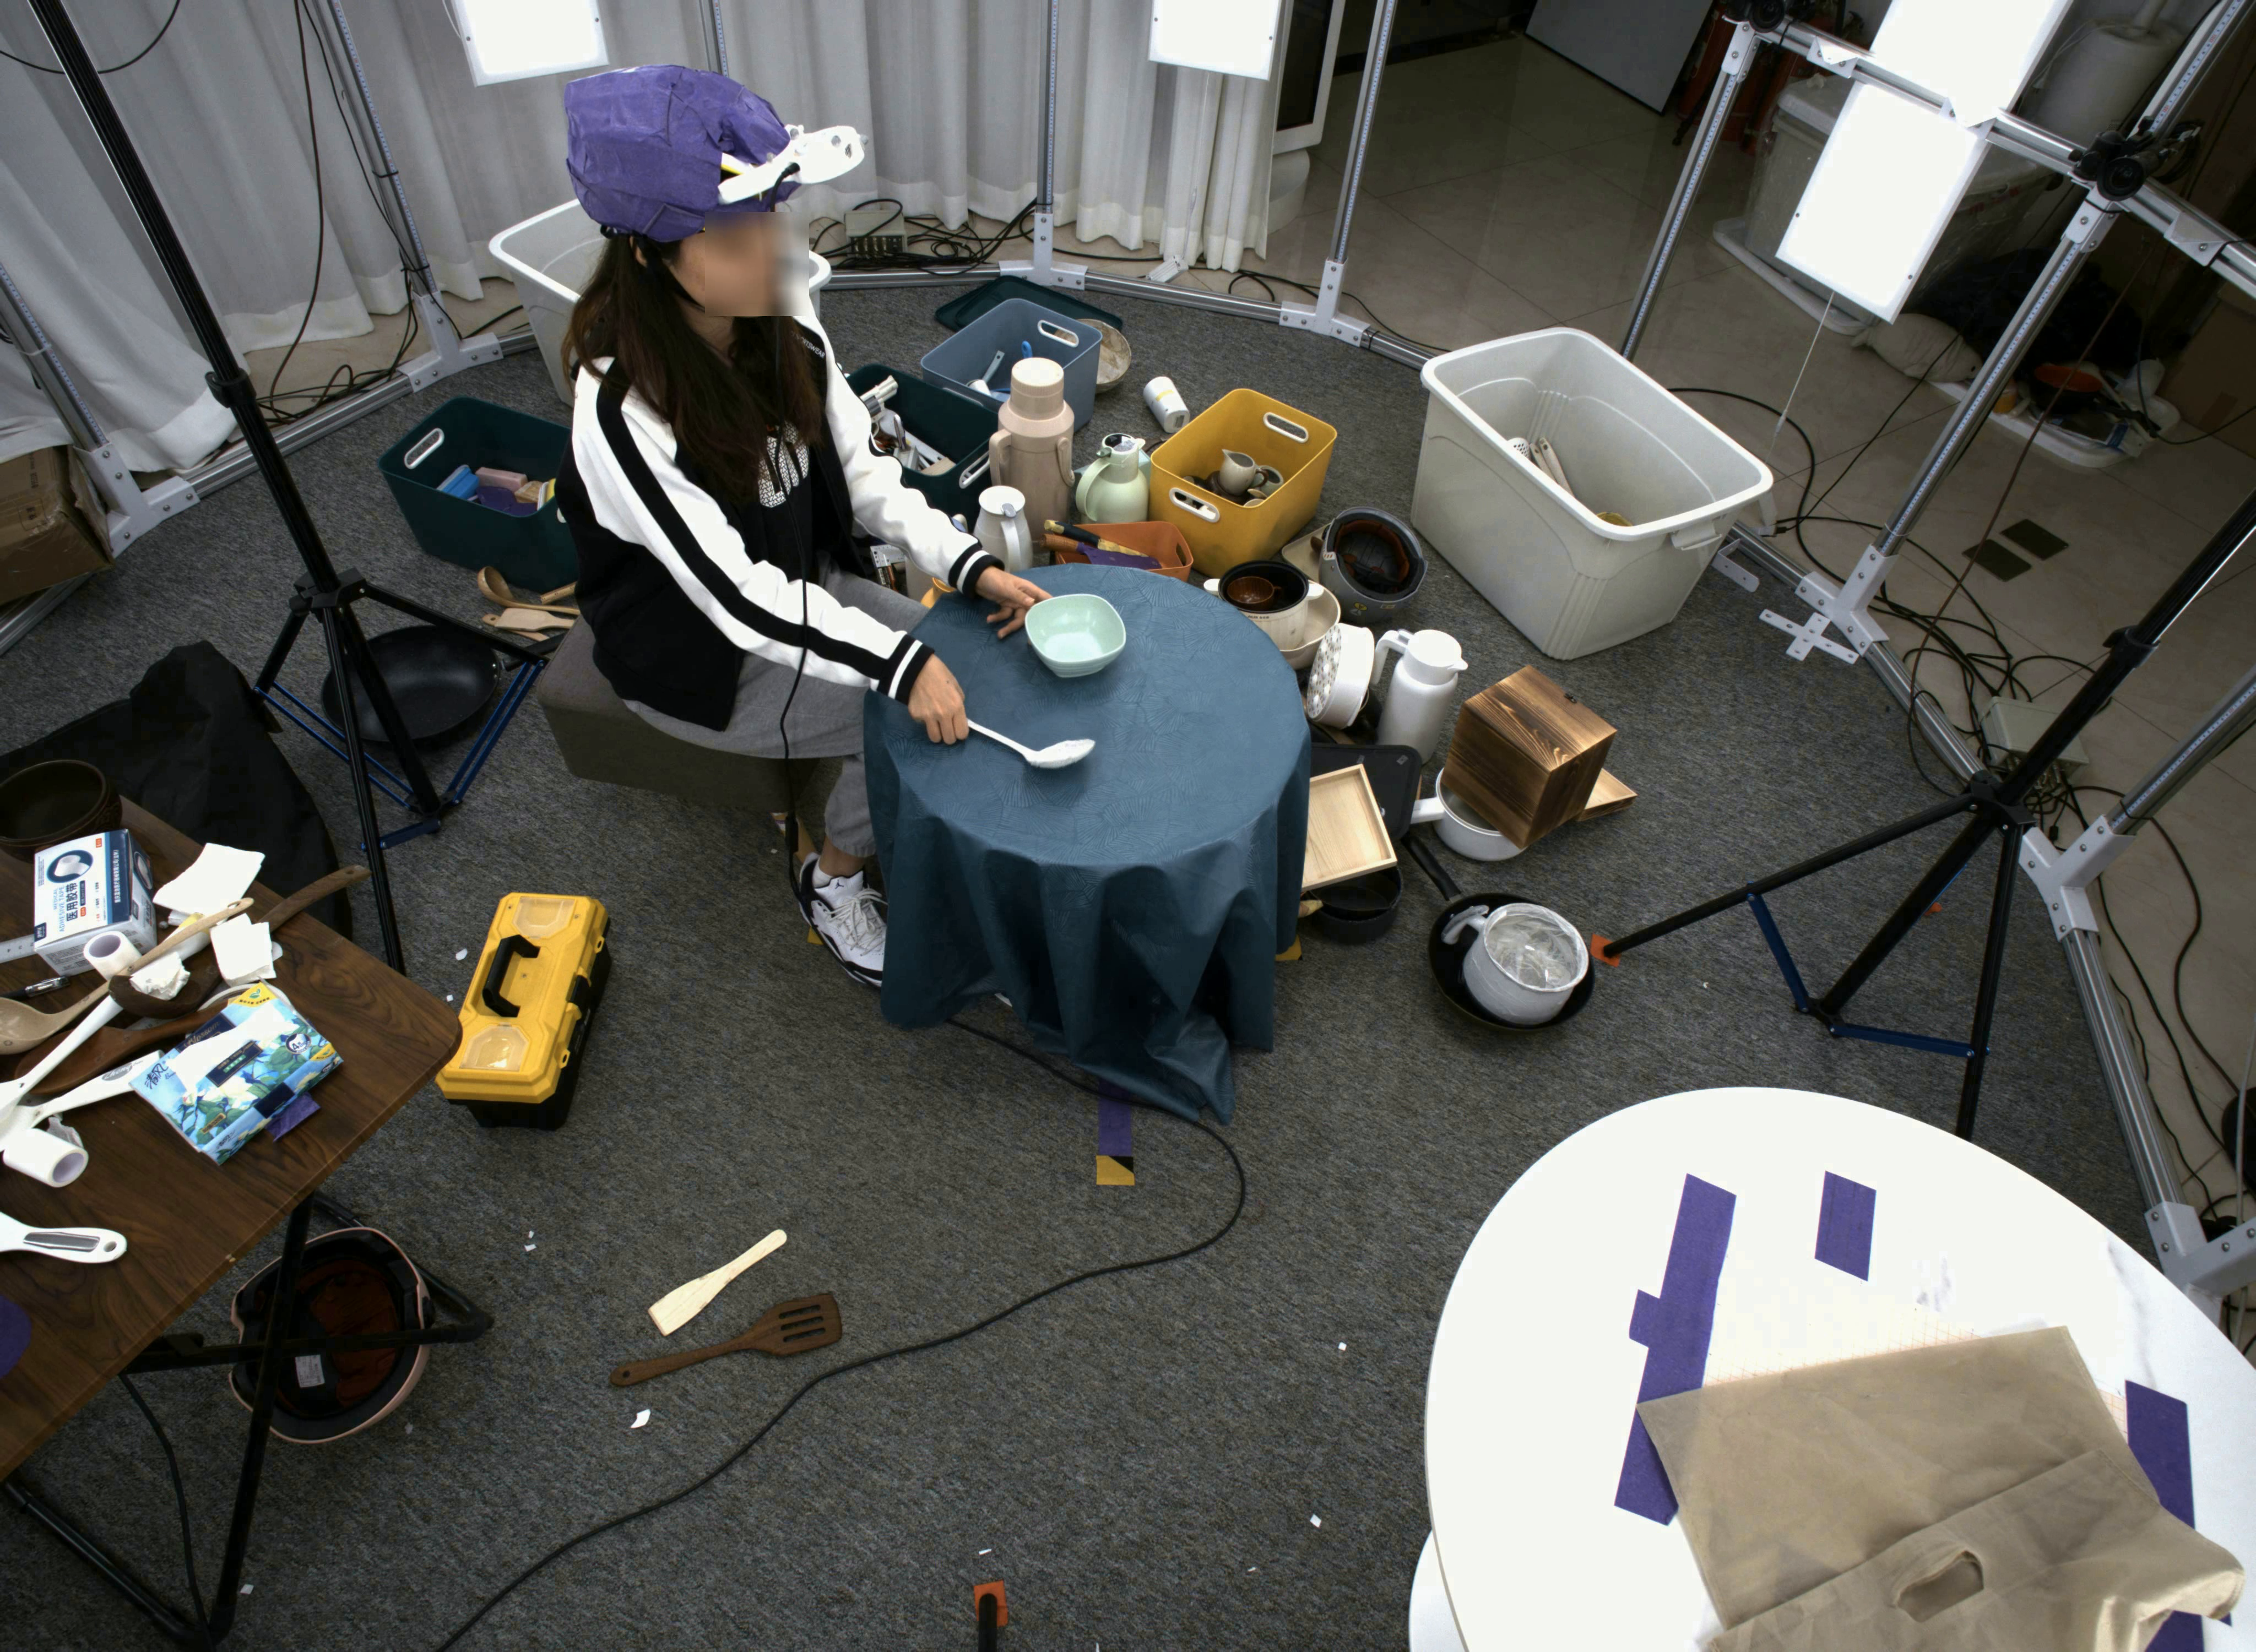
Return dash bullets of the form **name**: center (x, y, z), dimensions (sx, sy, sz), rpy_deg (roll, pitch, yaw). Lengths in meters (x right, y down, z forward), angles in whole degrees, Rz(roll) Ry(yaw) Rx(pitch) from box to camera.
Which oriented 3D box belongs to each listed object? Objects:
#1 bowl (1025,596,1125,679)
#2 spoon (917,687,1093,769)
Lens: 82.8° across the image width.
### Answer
- **bowl**: center (-0.078, -0.265, 1.861), dimensions (0.151, 0.057, 0.155), rpy_deg (2, 49, -2)
- **spoon**: center (-0.172, -0.148, 1.749), dimensions (0.280, 0.058, 0.101), rpy_deg (31, 32, 20)
